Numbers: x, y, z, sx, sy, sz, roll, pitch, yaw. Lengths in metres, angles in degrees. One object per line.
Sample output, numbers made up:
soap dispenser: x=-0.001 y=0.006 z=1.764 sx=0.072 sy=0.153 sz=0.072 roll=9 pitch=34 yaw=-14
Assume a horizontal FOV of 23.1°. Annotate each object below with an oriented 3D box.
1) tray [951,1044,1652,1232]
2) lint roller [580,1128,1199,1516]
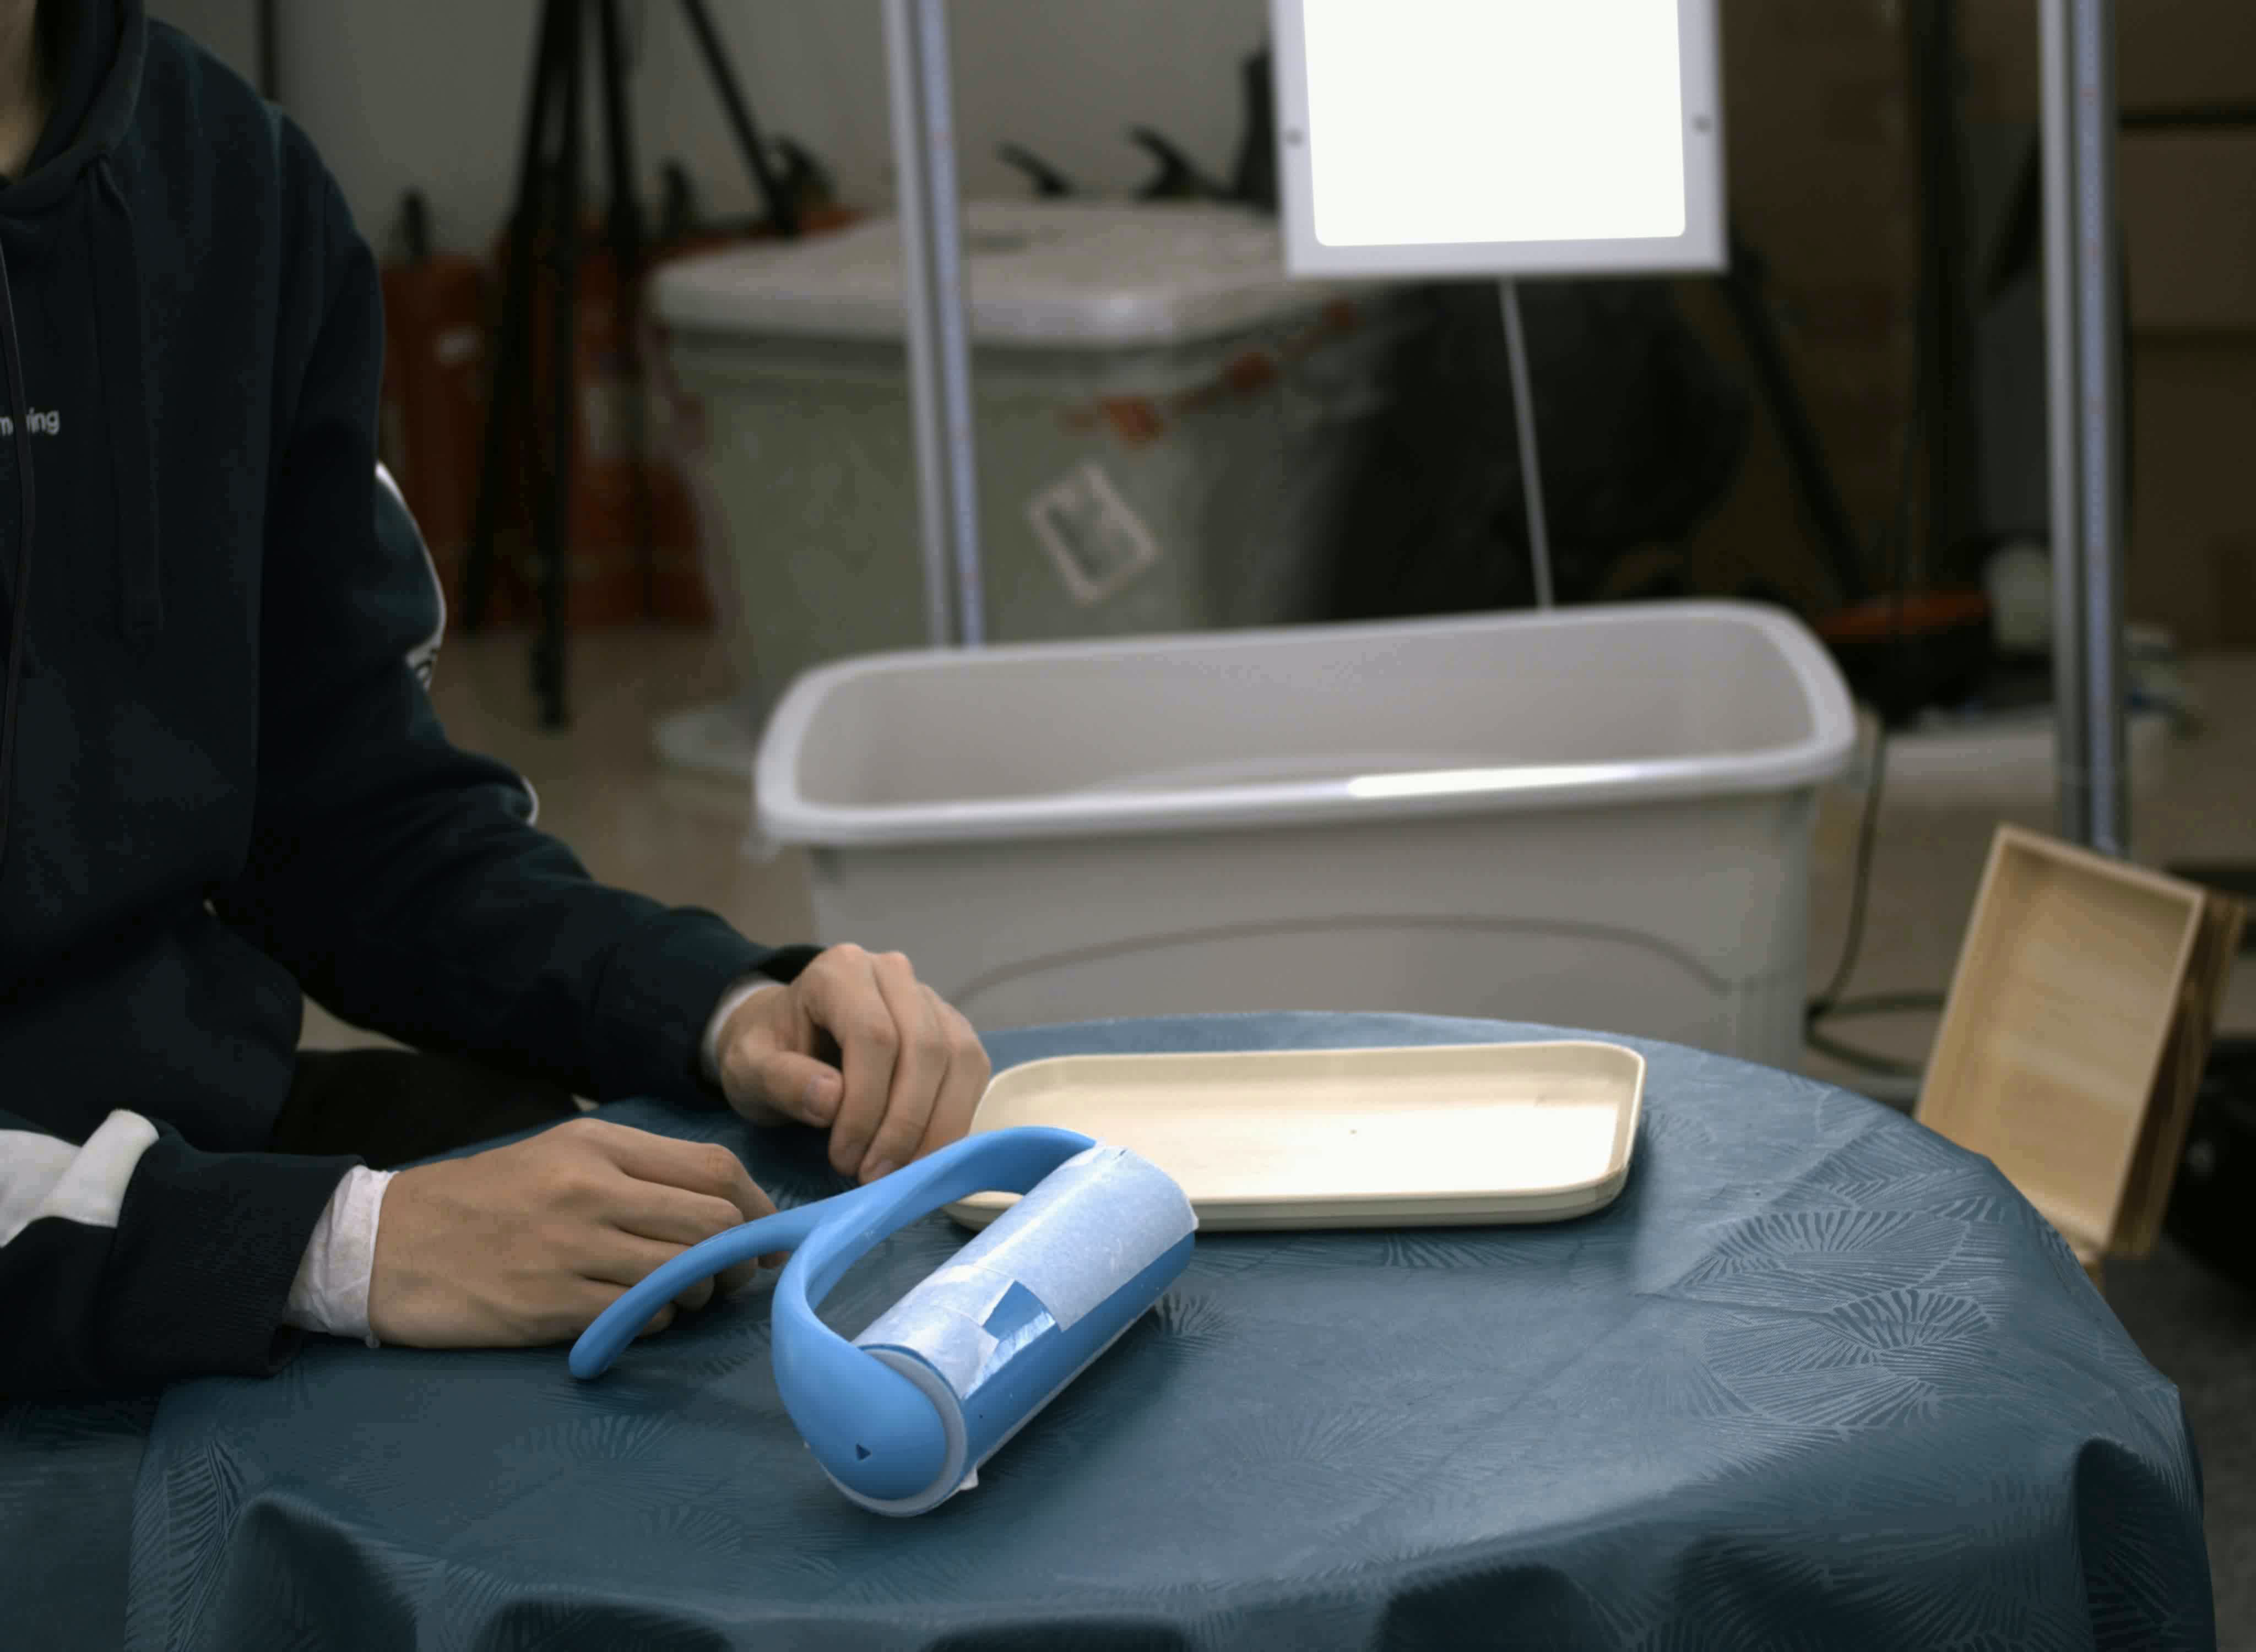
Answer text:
tray: x=0.061 y=0.109 z=1.905 sx=0.241 sy=0.017 sz=0.169 roll=-3 pitch=13 yaw=11
lint roller: x=-0.091 y=0.150 z=1.711 sx=0.182 sy=0.068 sz=0.225 roll=1 pitch=16 yaw=19
